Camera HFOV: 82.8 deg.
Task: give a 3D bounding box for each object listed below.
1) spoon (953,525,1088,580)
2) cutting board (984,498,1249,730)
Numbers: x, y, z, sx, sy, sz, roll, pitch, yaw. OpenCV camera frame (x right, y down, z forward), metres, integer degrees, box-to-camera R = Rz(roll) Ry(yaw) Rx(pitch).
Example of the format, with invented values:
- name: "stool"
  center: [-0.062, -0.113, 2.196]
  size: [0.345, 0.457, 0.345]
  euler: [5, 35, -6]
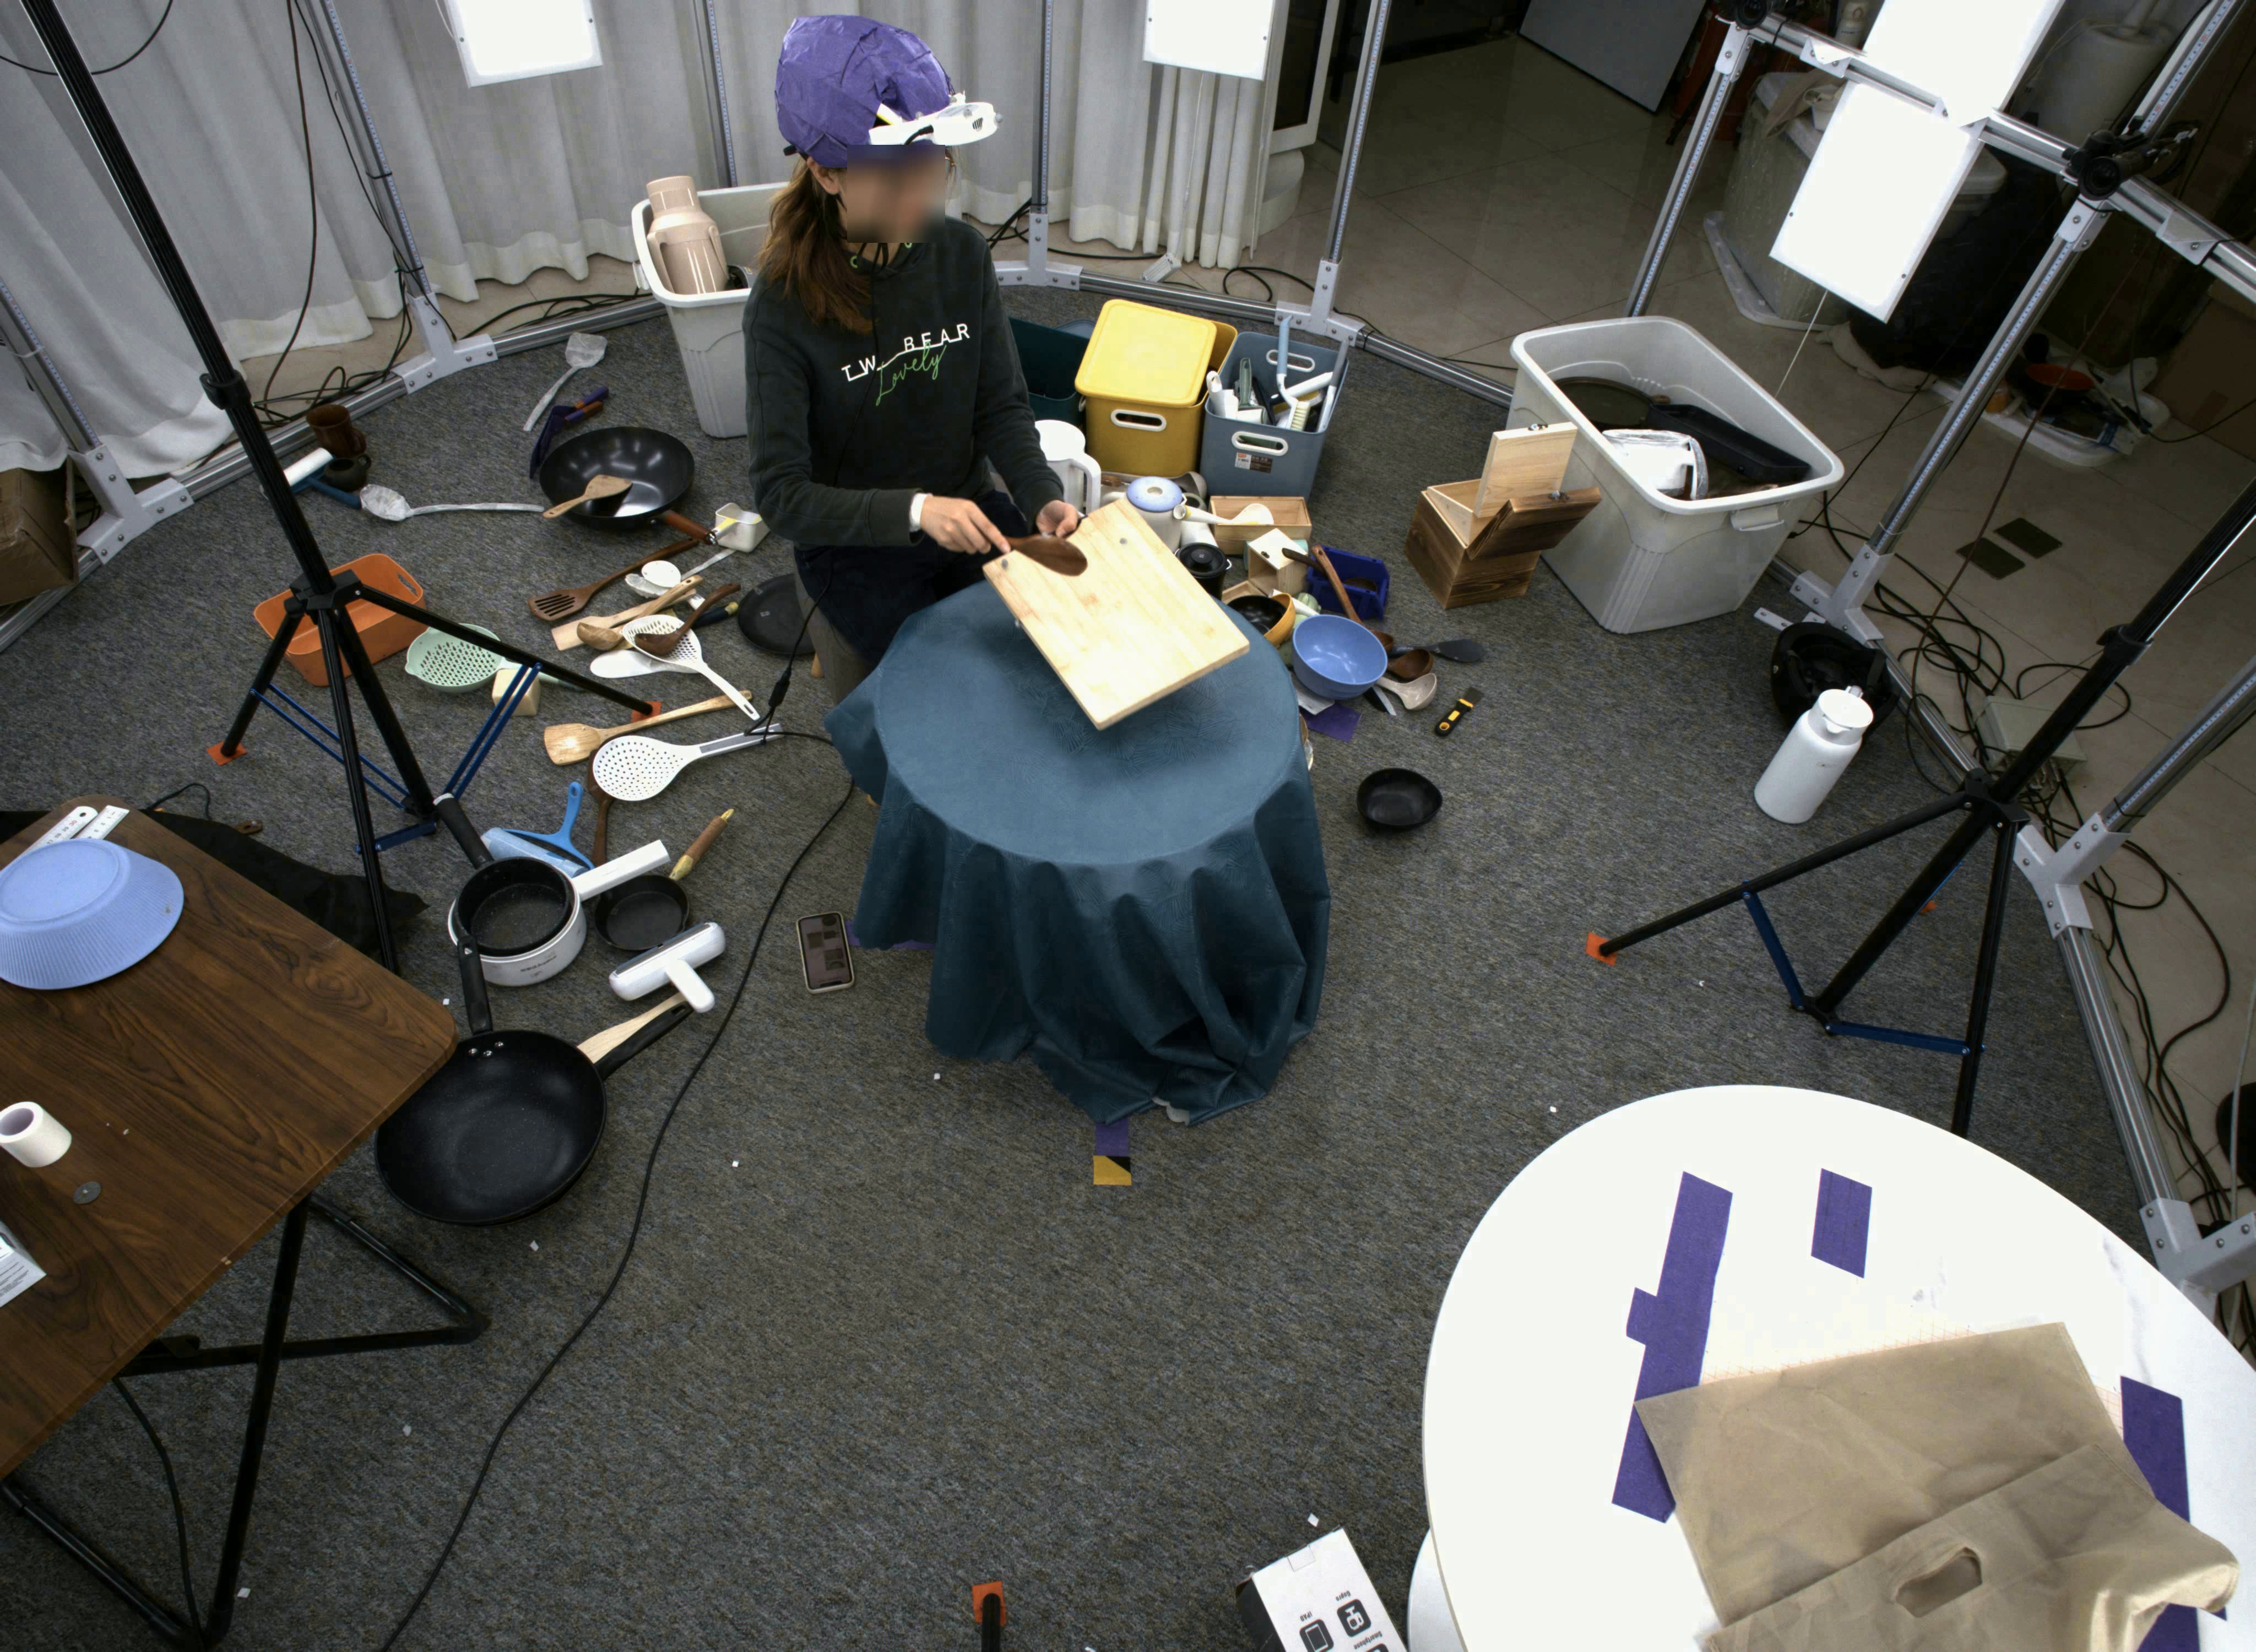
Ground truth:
- name: "spoon"
  center: [-0.149, -0.373, 1.745]
  size: [0.218, 0.074, 0.017]
  euler: [21, 73, 26]
- name: "cutting board"
  center: [-0.022, -0.308, 1.826]
  size: [0.251, 0.023, 0.356]
  euler: [-29, 58, -12]
